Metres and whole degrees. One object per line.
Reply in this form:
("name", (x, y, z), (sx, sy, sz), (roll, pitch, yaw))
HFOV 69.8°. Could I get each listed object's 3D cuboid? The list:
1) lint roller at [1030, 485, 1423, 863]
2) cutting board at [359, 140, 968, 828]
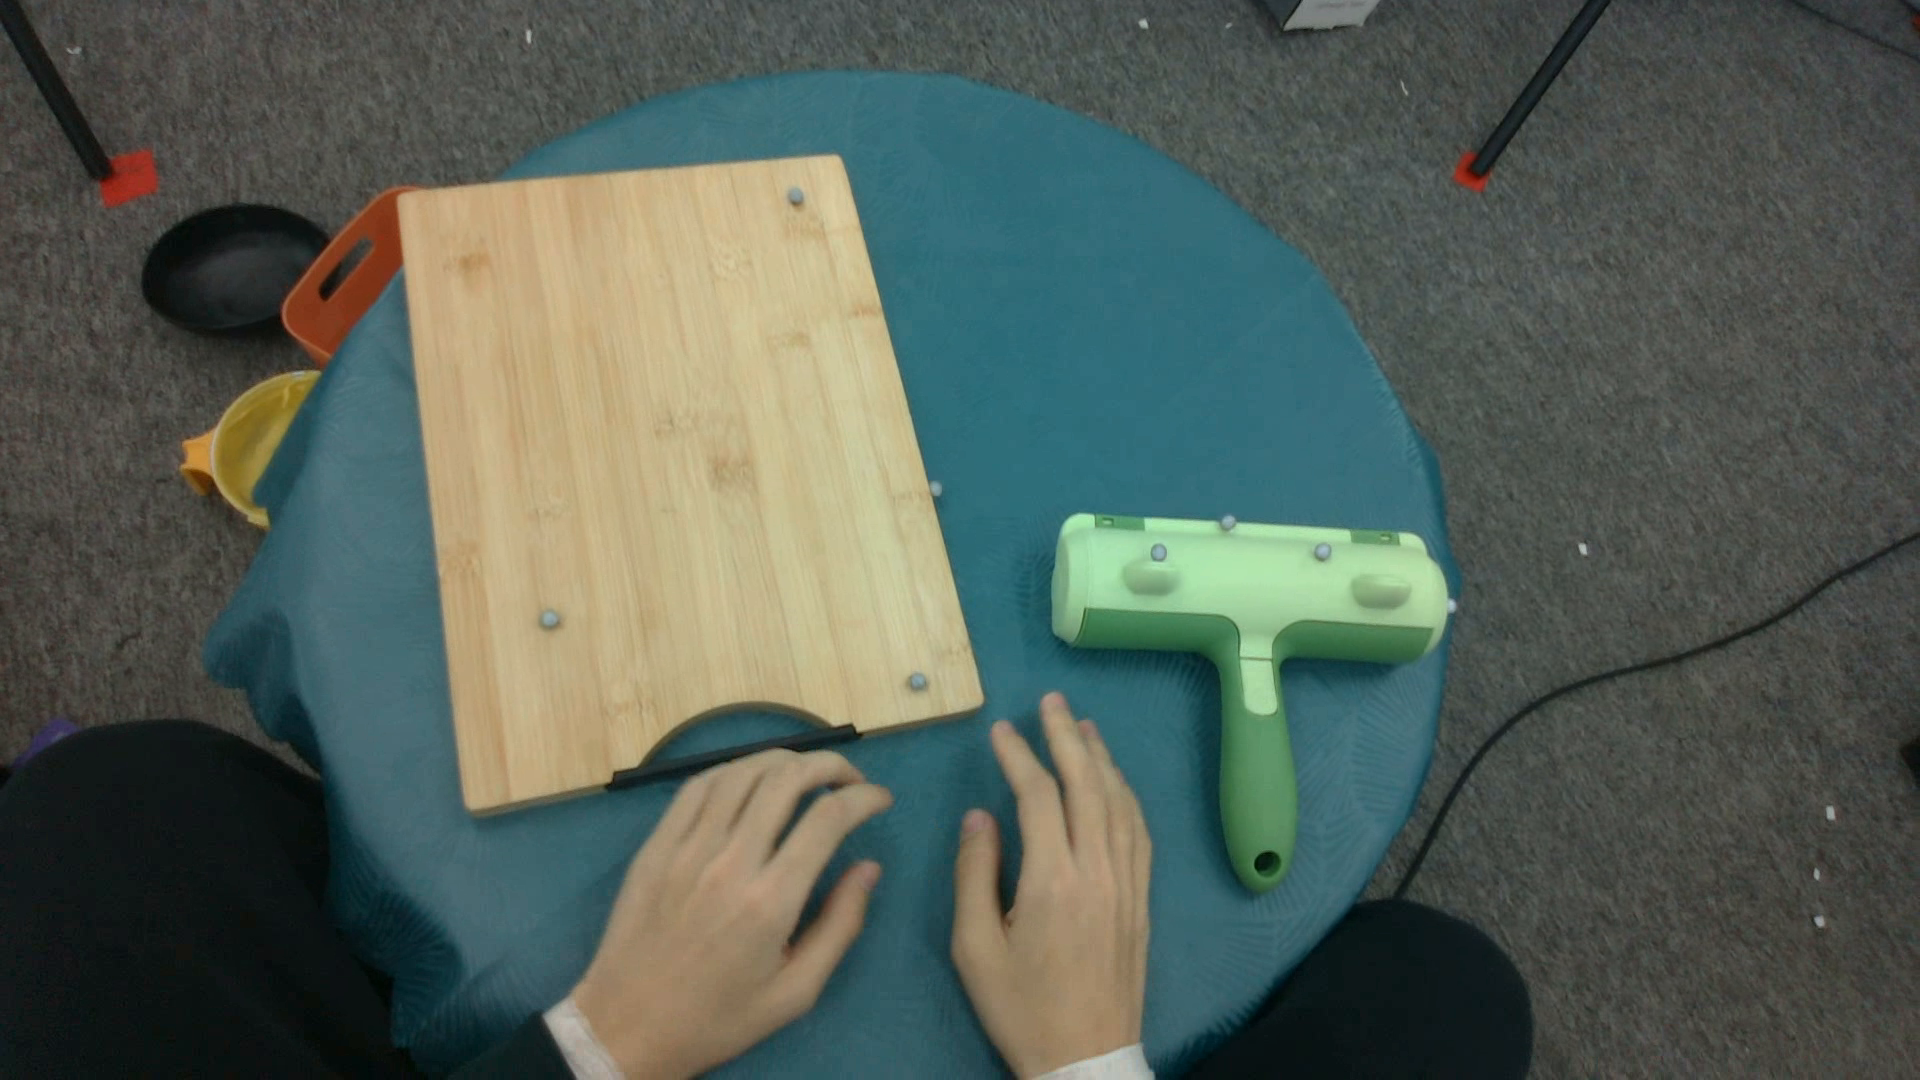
("lint roller", (0.138, 0.058, 0.670), (0.199, 0.082, 0.184), (2, 62, -9))
("cutting board", (-0.157, -0.051, 0.699), (0.251, 0.023, 0.349), (-12, 69, -15))
